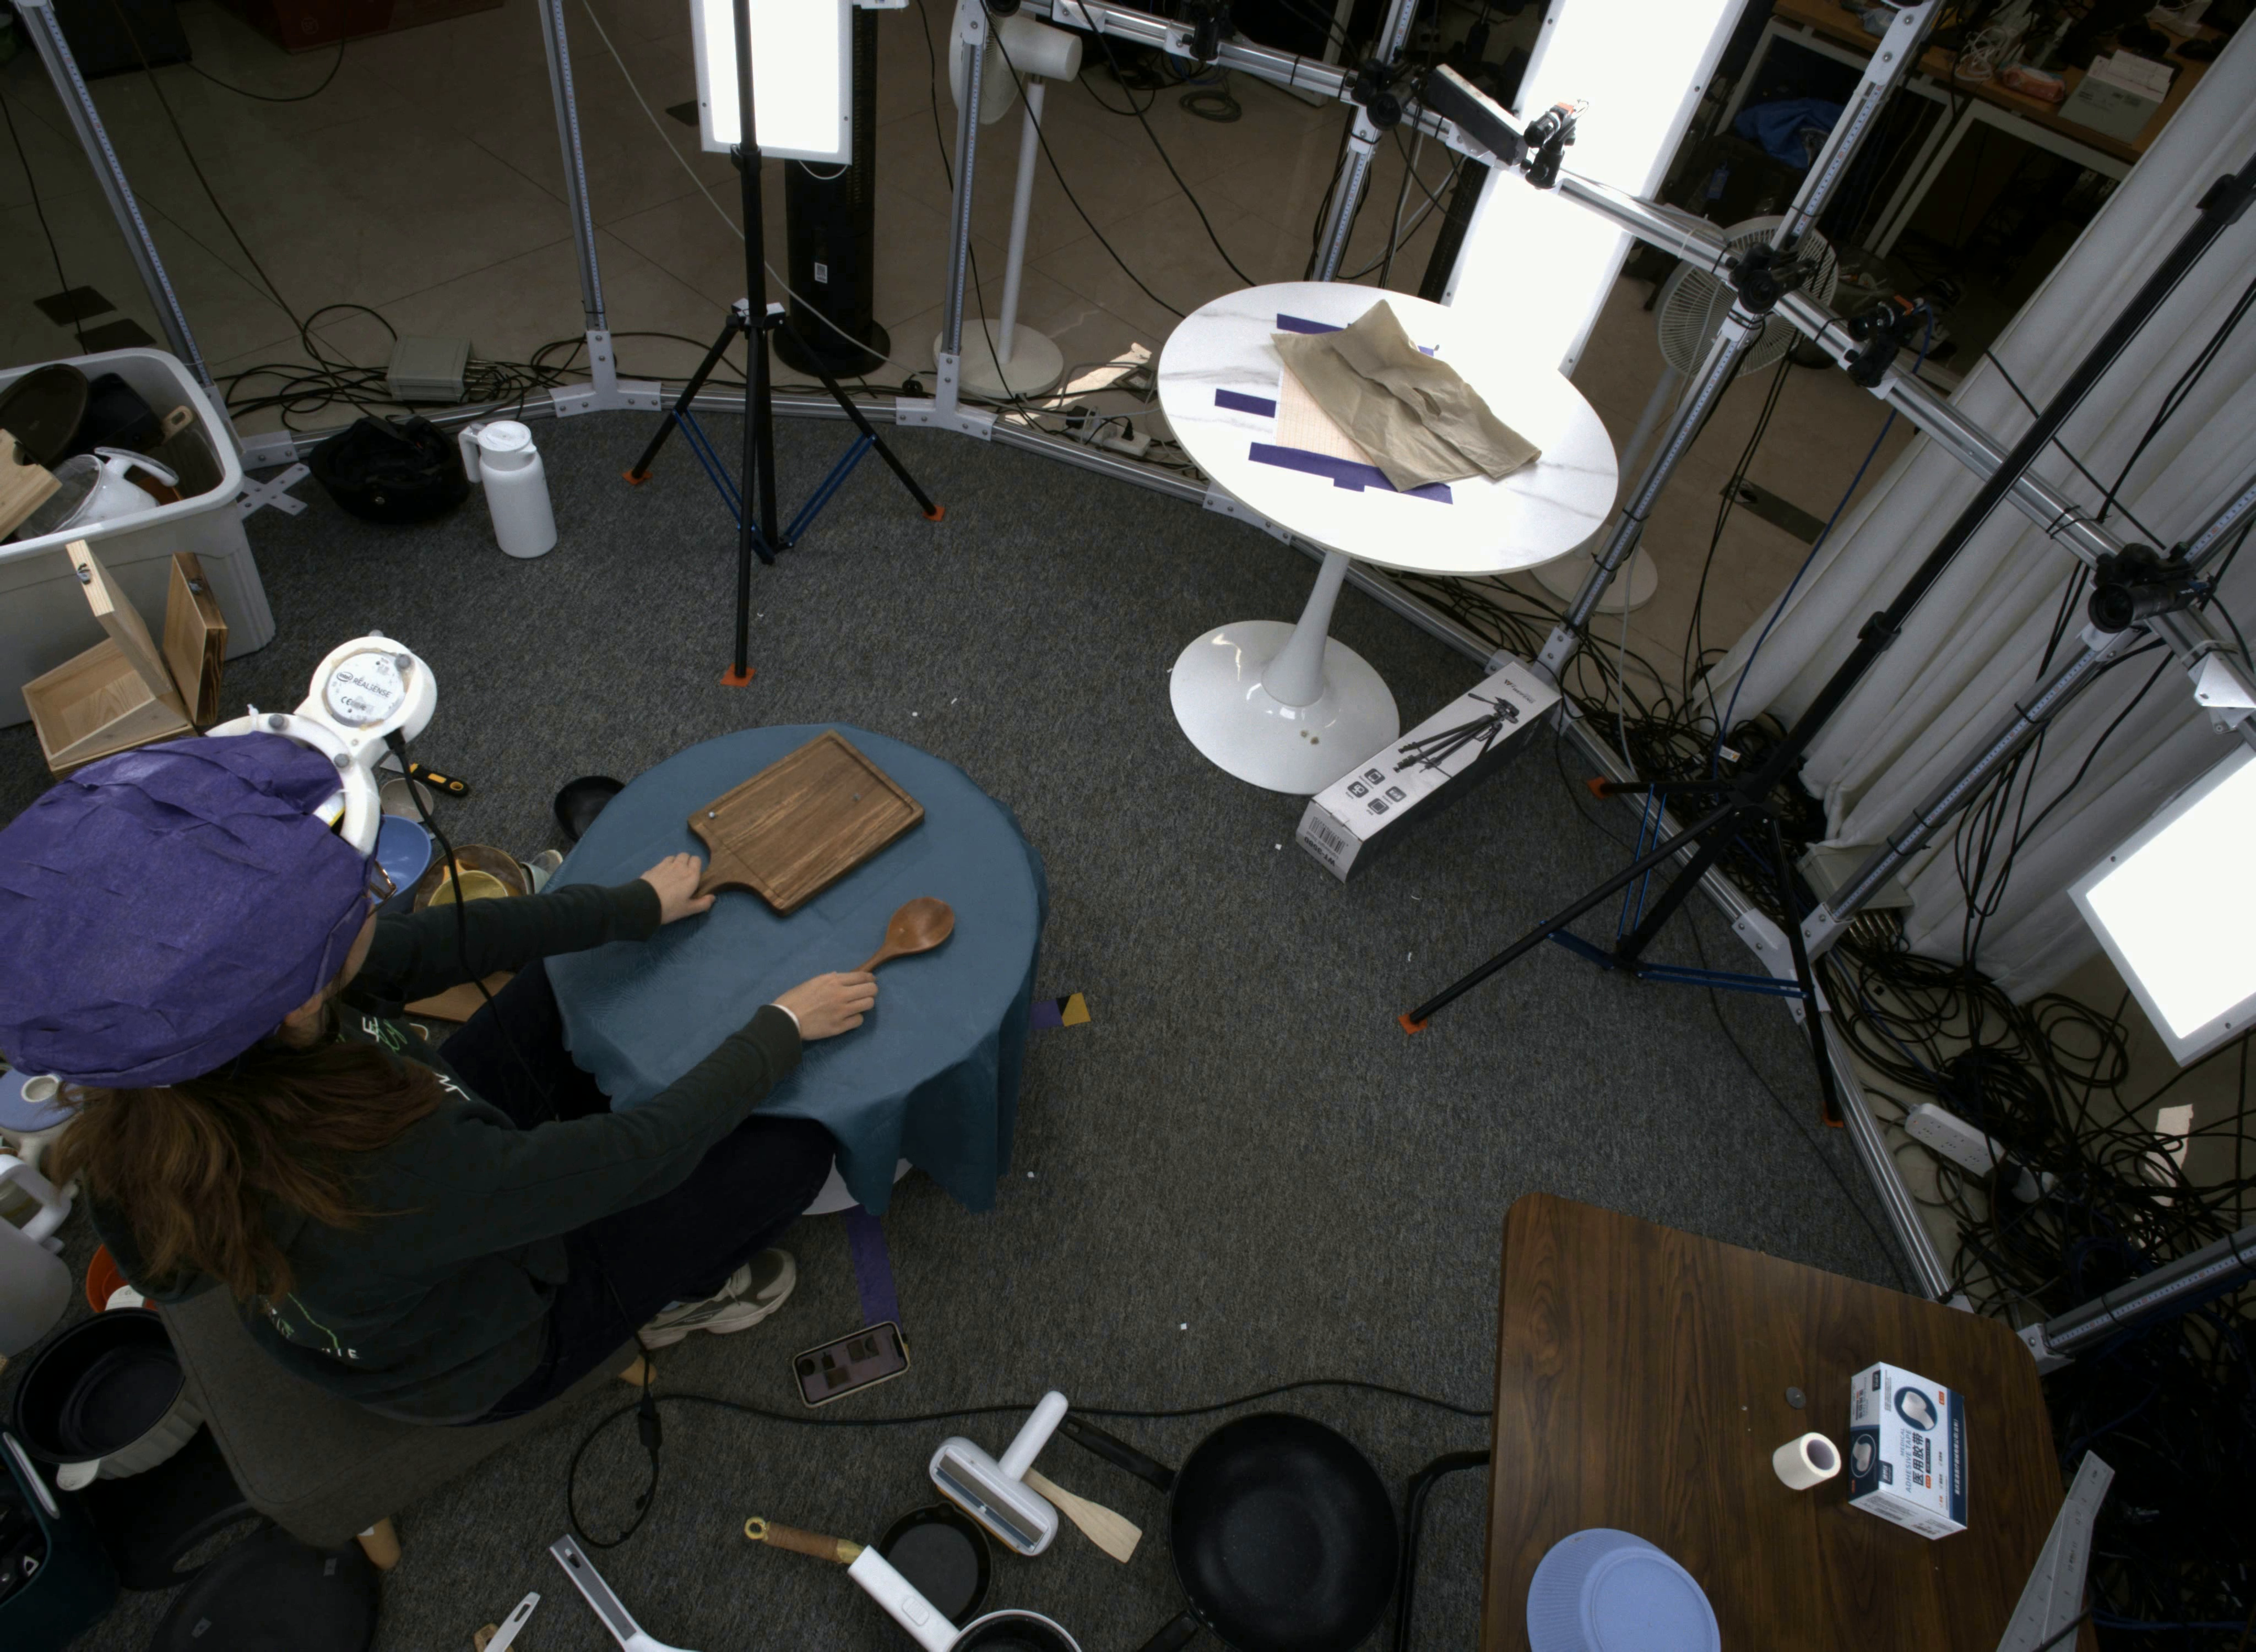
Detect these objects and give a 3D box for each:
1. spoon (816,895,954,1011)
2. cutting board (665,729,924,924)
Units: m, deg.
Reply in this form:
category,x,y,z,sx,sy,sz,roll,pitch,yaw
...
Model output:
category,x,y,z,sx,sy,sz,roll,pitch,yaw
spoon,-0.306,0.158,1.630,0.074,0.017,0.216,40,54,14
cutting board,-0.458,0.016,1.697,0.197,0.023,0.352,41,55,15
